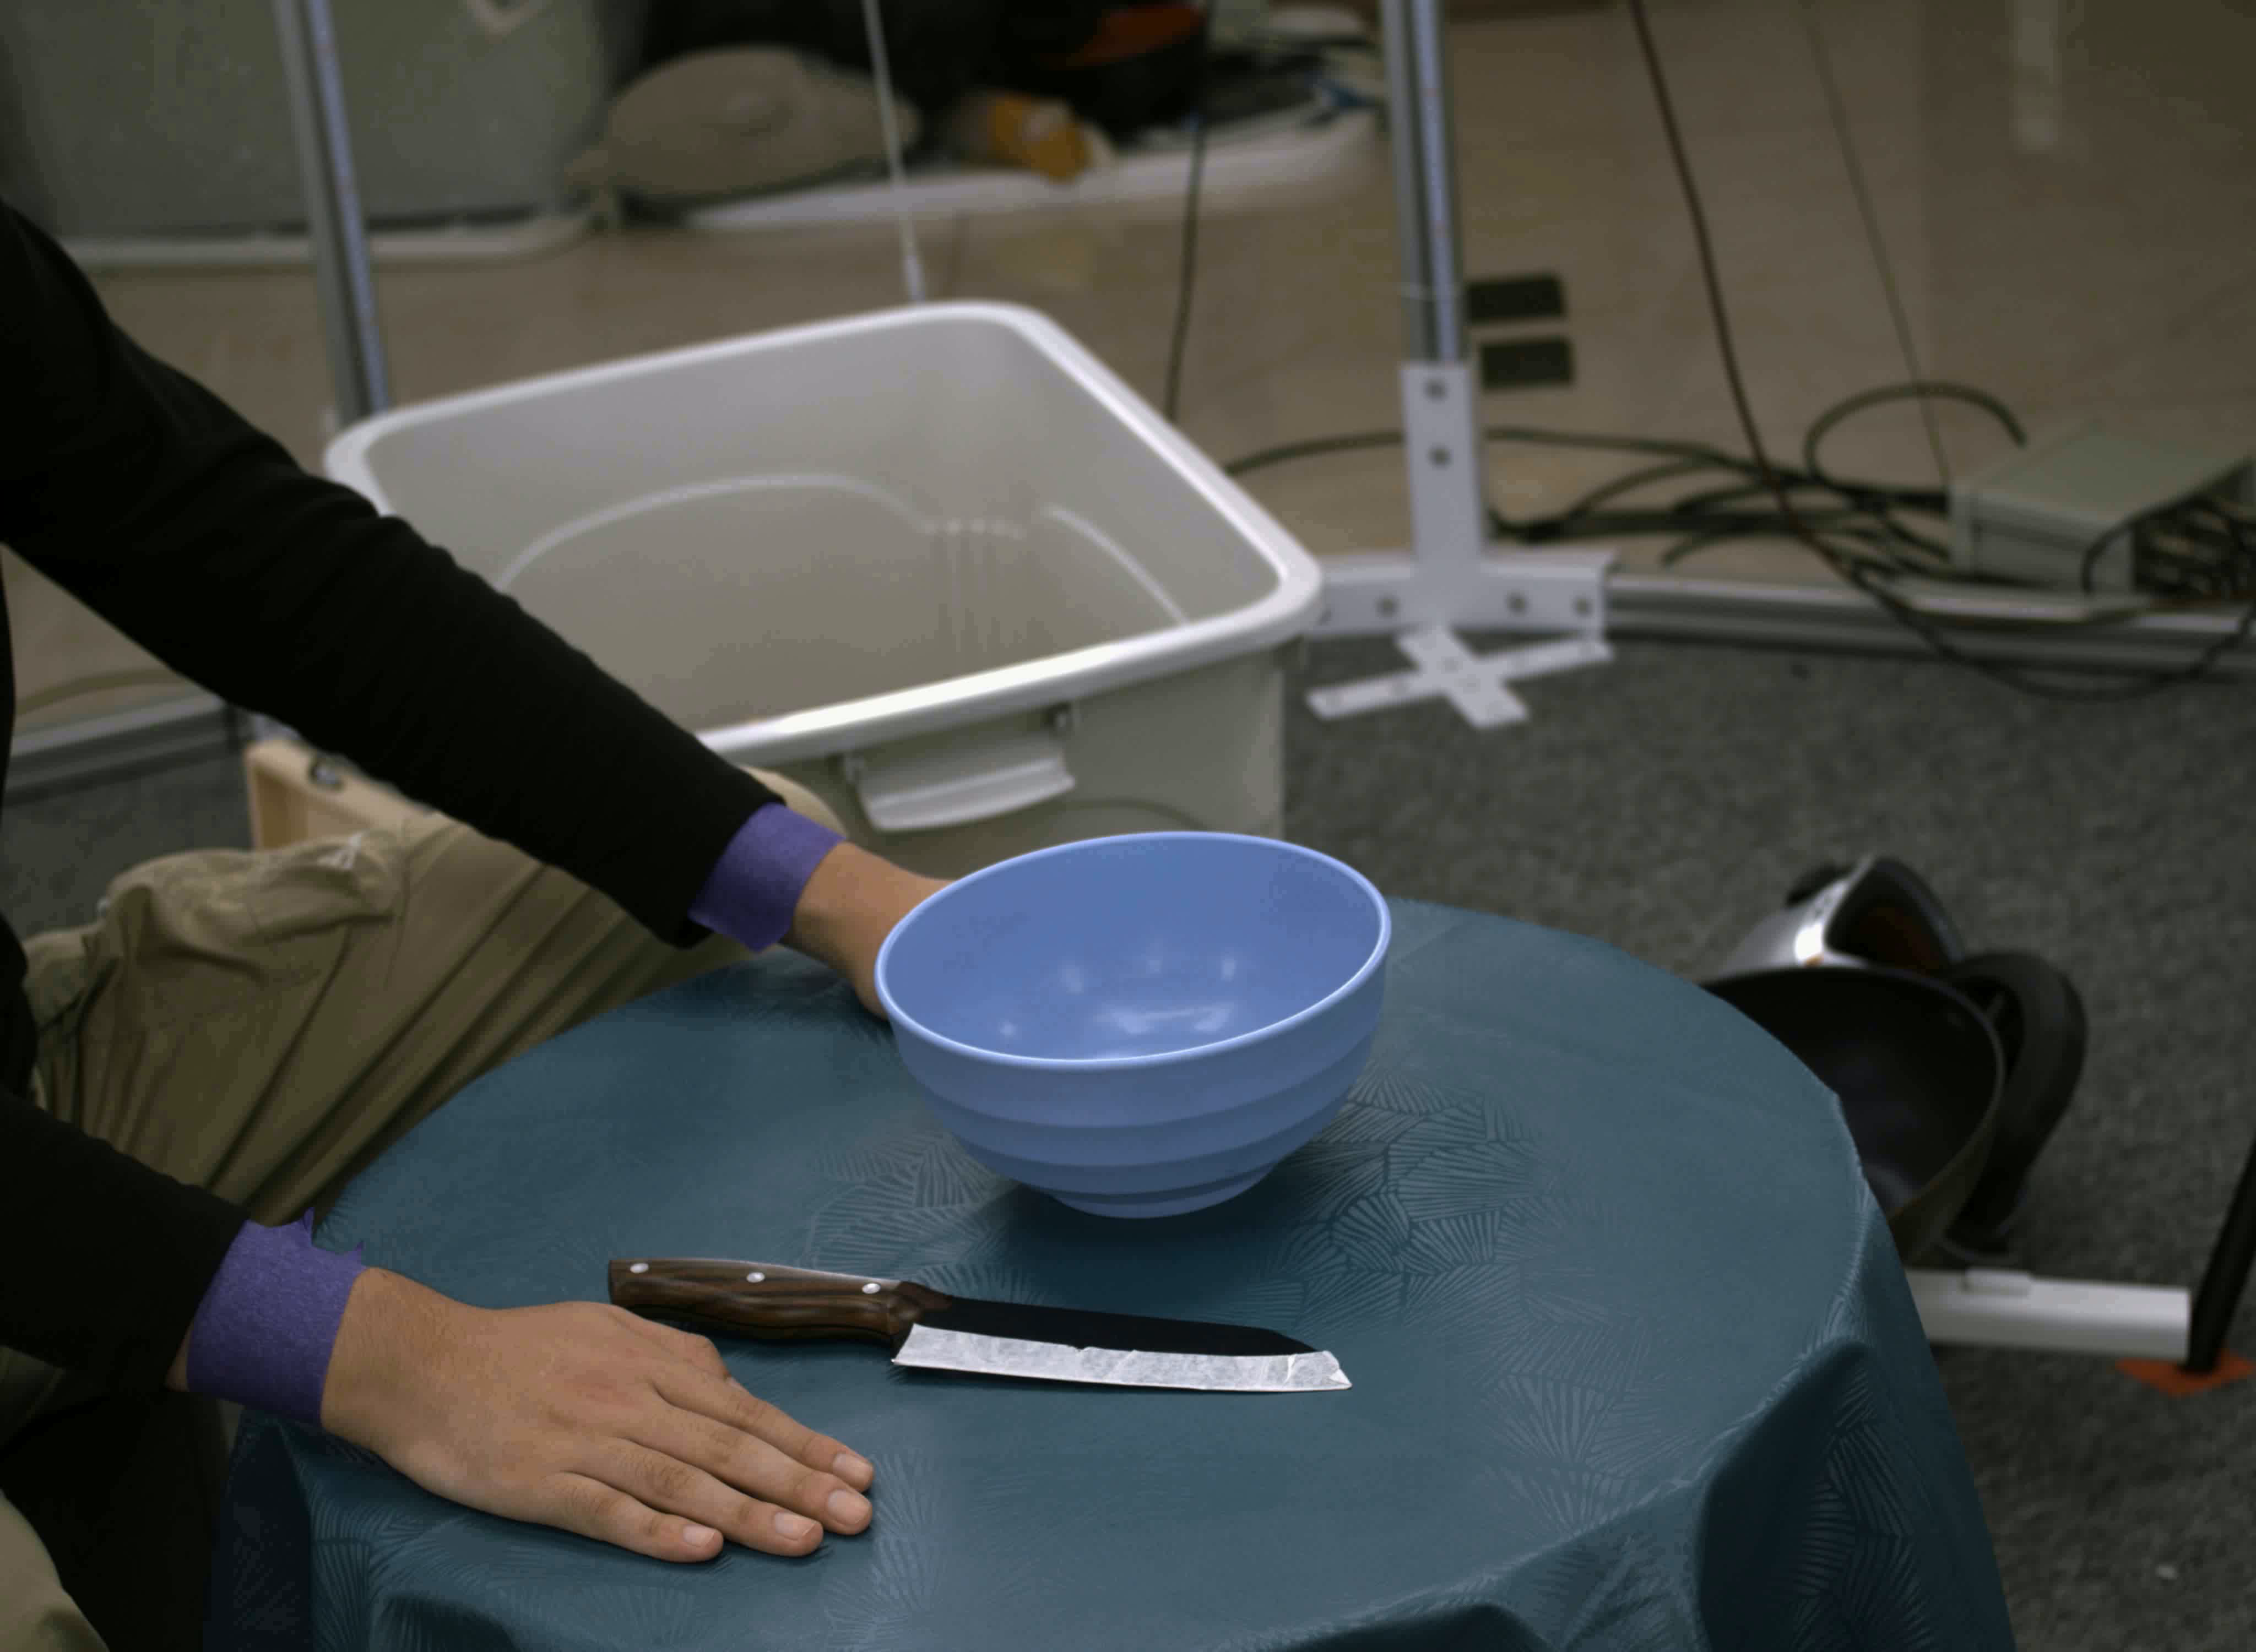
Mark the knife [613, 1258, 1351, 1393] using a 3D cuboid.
[{"bbox_3d":[-0.056,0.183,2.053,0.288,0.020,0.049,5,32,18],"label":"knife"}]

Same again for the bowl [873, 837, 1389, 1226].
[{"bbox_3d":[0.007,0.089,2.150,0.196,0.097,0.193,-7,25,4],"label":"bowl"}]
